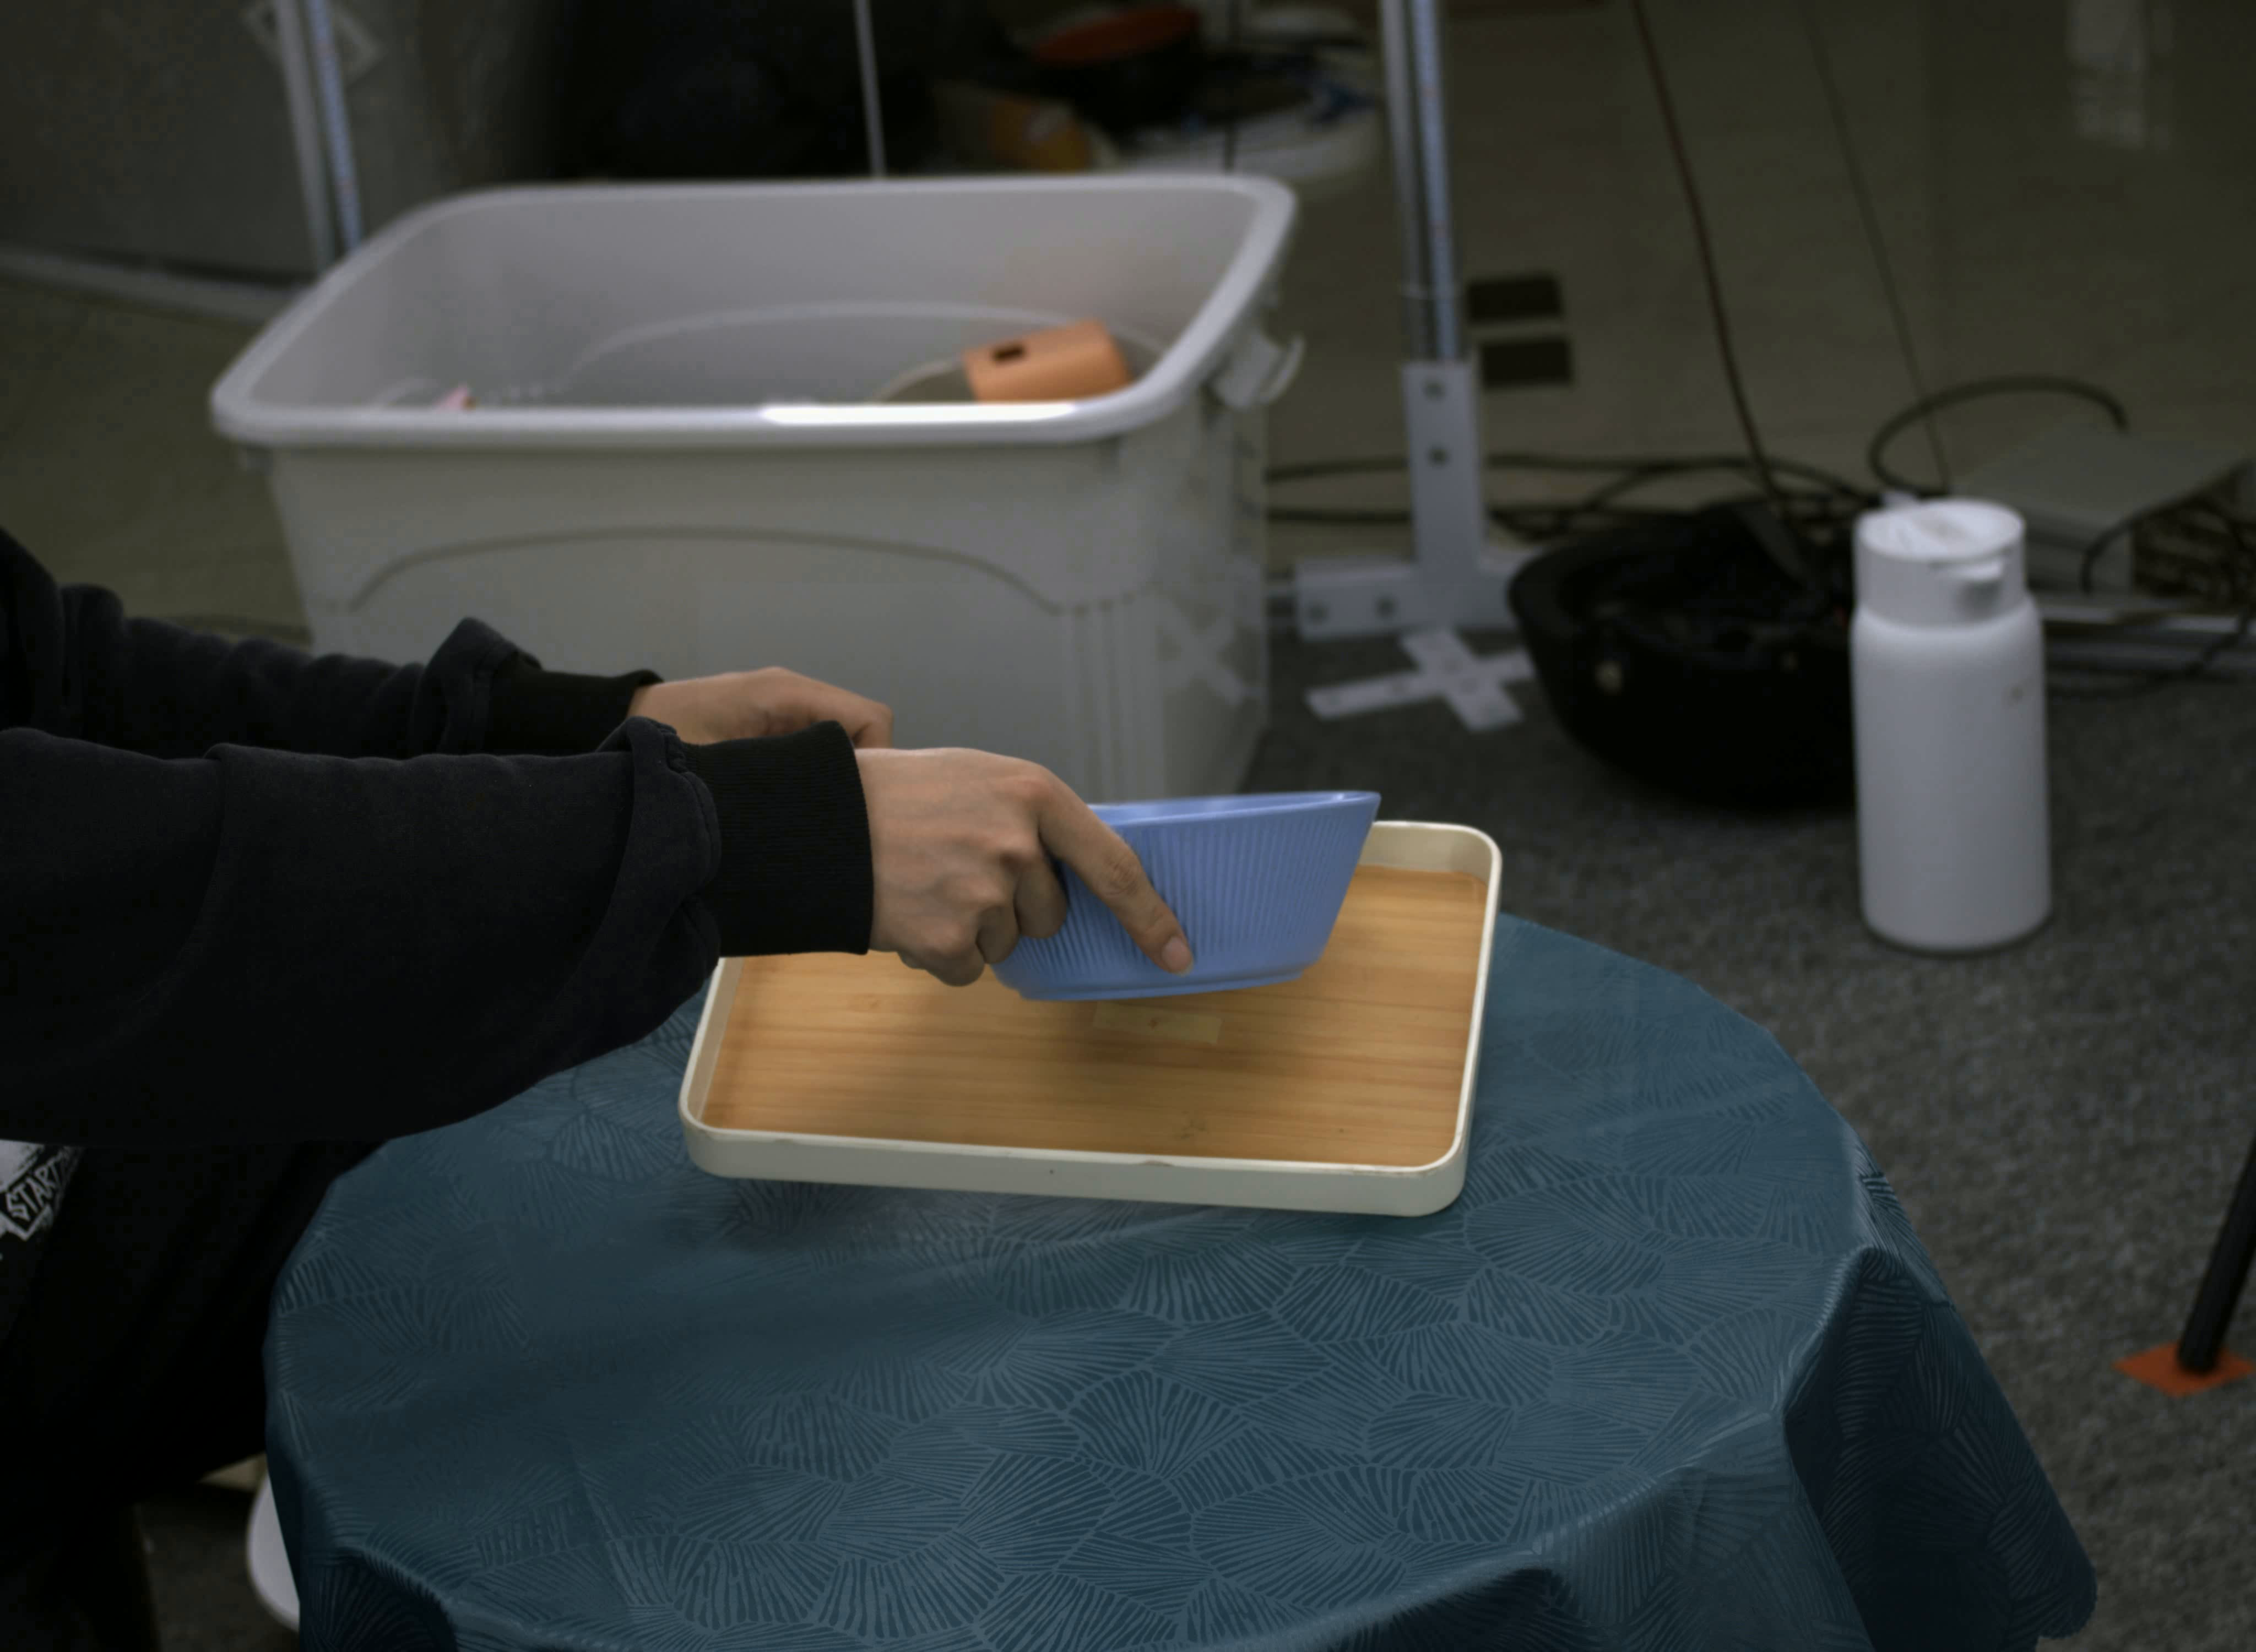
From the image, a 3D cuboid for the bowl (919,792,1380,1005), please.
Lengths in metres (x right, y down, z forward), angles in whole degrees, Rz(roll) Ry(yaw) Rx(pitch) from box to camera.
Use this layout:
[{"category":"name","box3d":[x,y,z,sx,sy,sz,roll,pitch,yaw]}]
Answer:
[{"category":"bowl","box3d":[0.011,0.028,2.136,0.176,0.070,0.176,-5,0,0]}]

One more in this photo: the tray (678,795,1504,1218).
[{"category":"tray","box3d":[-0.011,0.067,2.187,0.299,0.028,0.188,3,45,8]}]
